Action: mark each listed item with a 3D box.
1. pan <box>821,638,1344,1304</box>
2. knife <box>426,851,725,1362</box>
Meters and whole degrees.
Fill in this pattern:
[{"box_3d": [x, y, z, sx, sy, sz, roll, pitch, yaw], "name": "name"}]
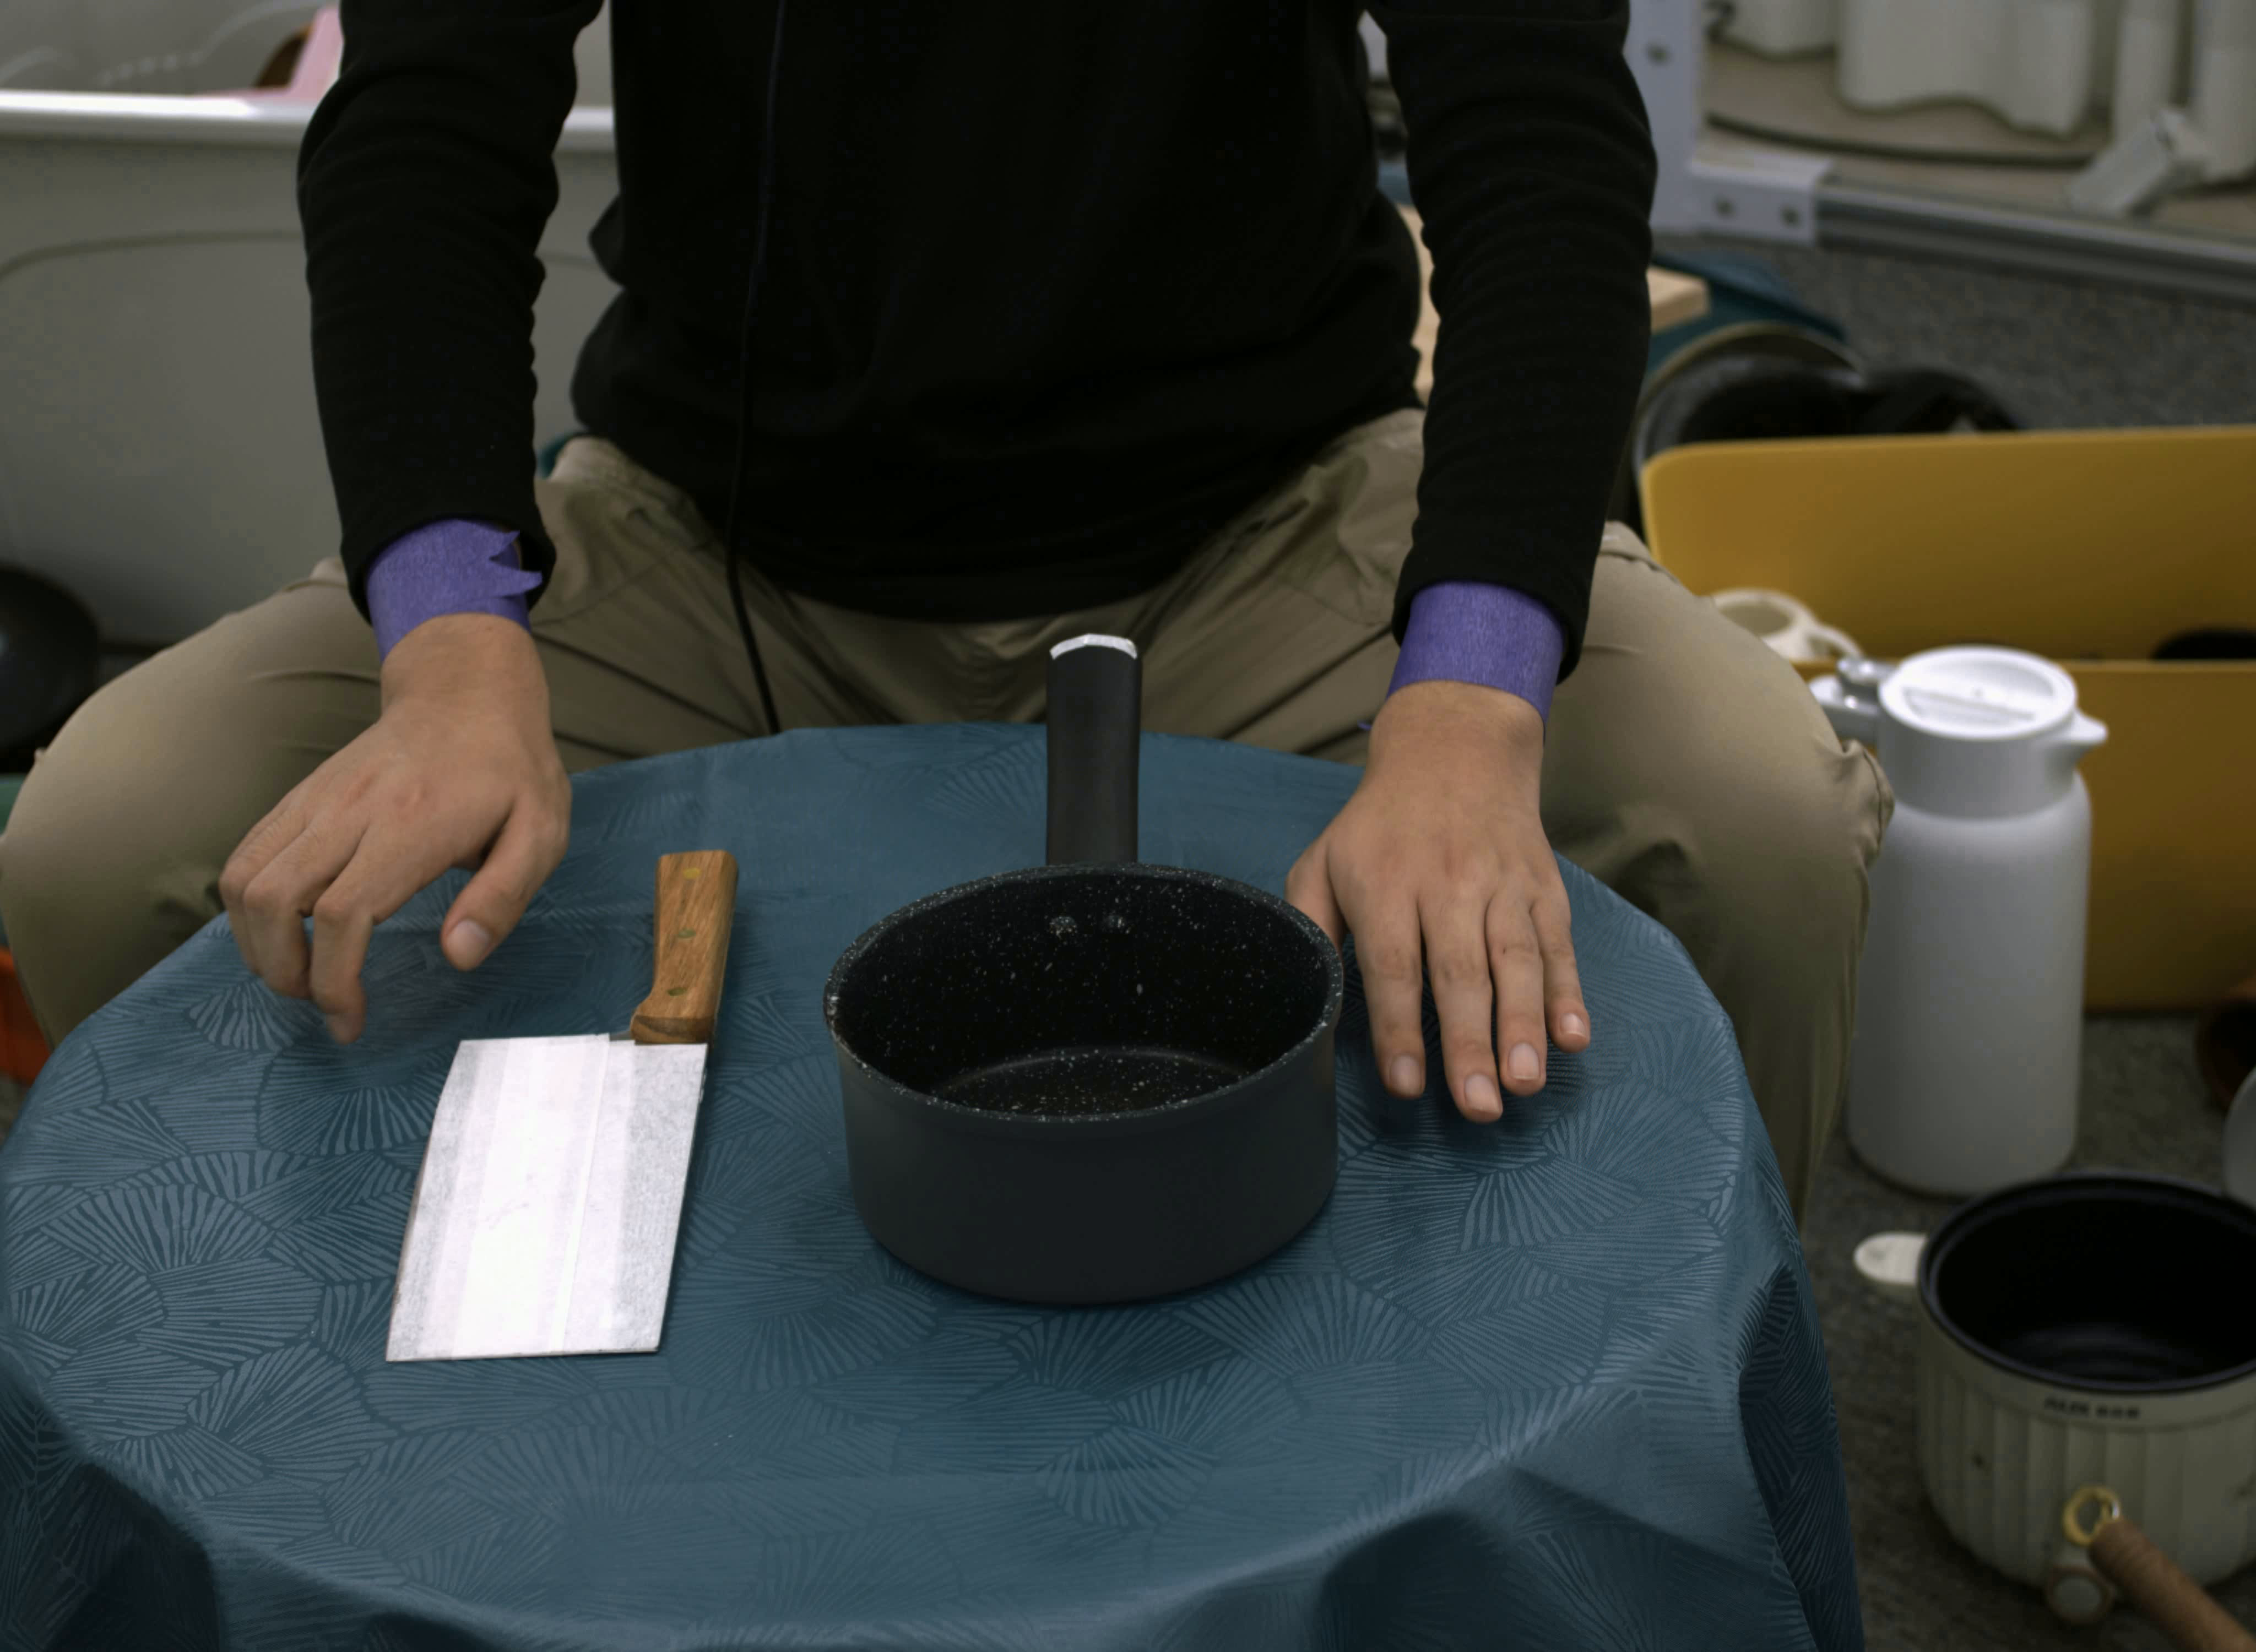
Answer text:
[{"box_3d": [-0.009, 0.046, 1.919, 0.171, 0.085, 0.334, -1, 28, 4], "name": "pan"}, {"box_3d": [-0.188, 0.093, 1.916, 0.092, 0.021, 0.311, -3, 29, 3], "name": "knife"}]
